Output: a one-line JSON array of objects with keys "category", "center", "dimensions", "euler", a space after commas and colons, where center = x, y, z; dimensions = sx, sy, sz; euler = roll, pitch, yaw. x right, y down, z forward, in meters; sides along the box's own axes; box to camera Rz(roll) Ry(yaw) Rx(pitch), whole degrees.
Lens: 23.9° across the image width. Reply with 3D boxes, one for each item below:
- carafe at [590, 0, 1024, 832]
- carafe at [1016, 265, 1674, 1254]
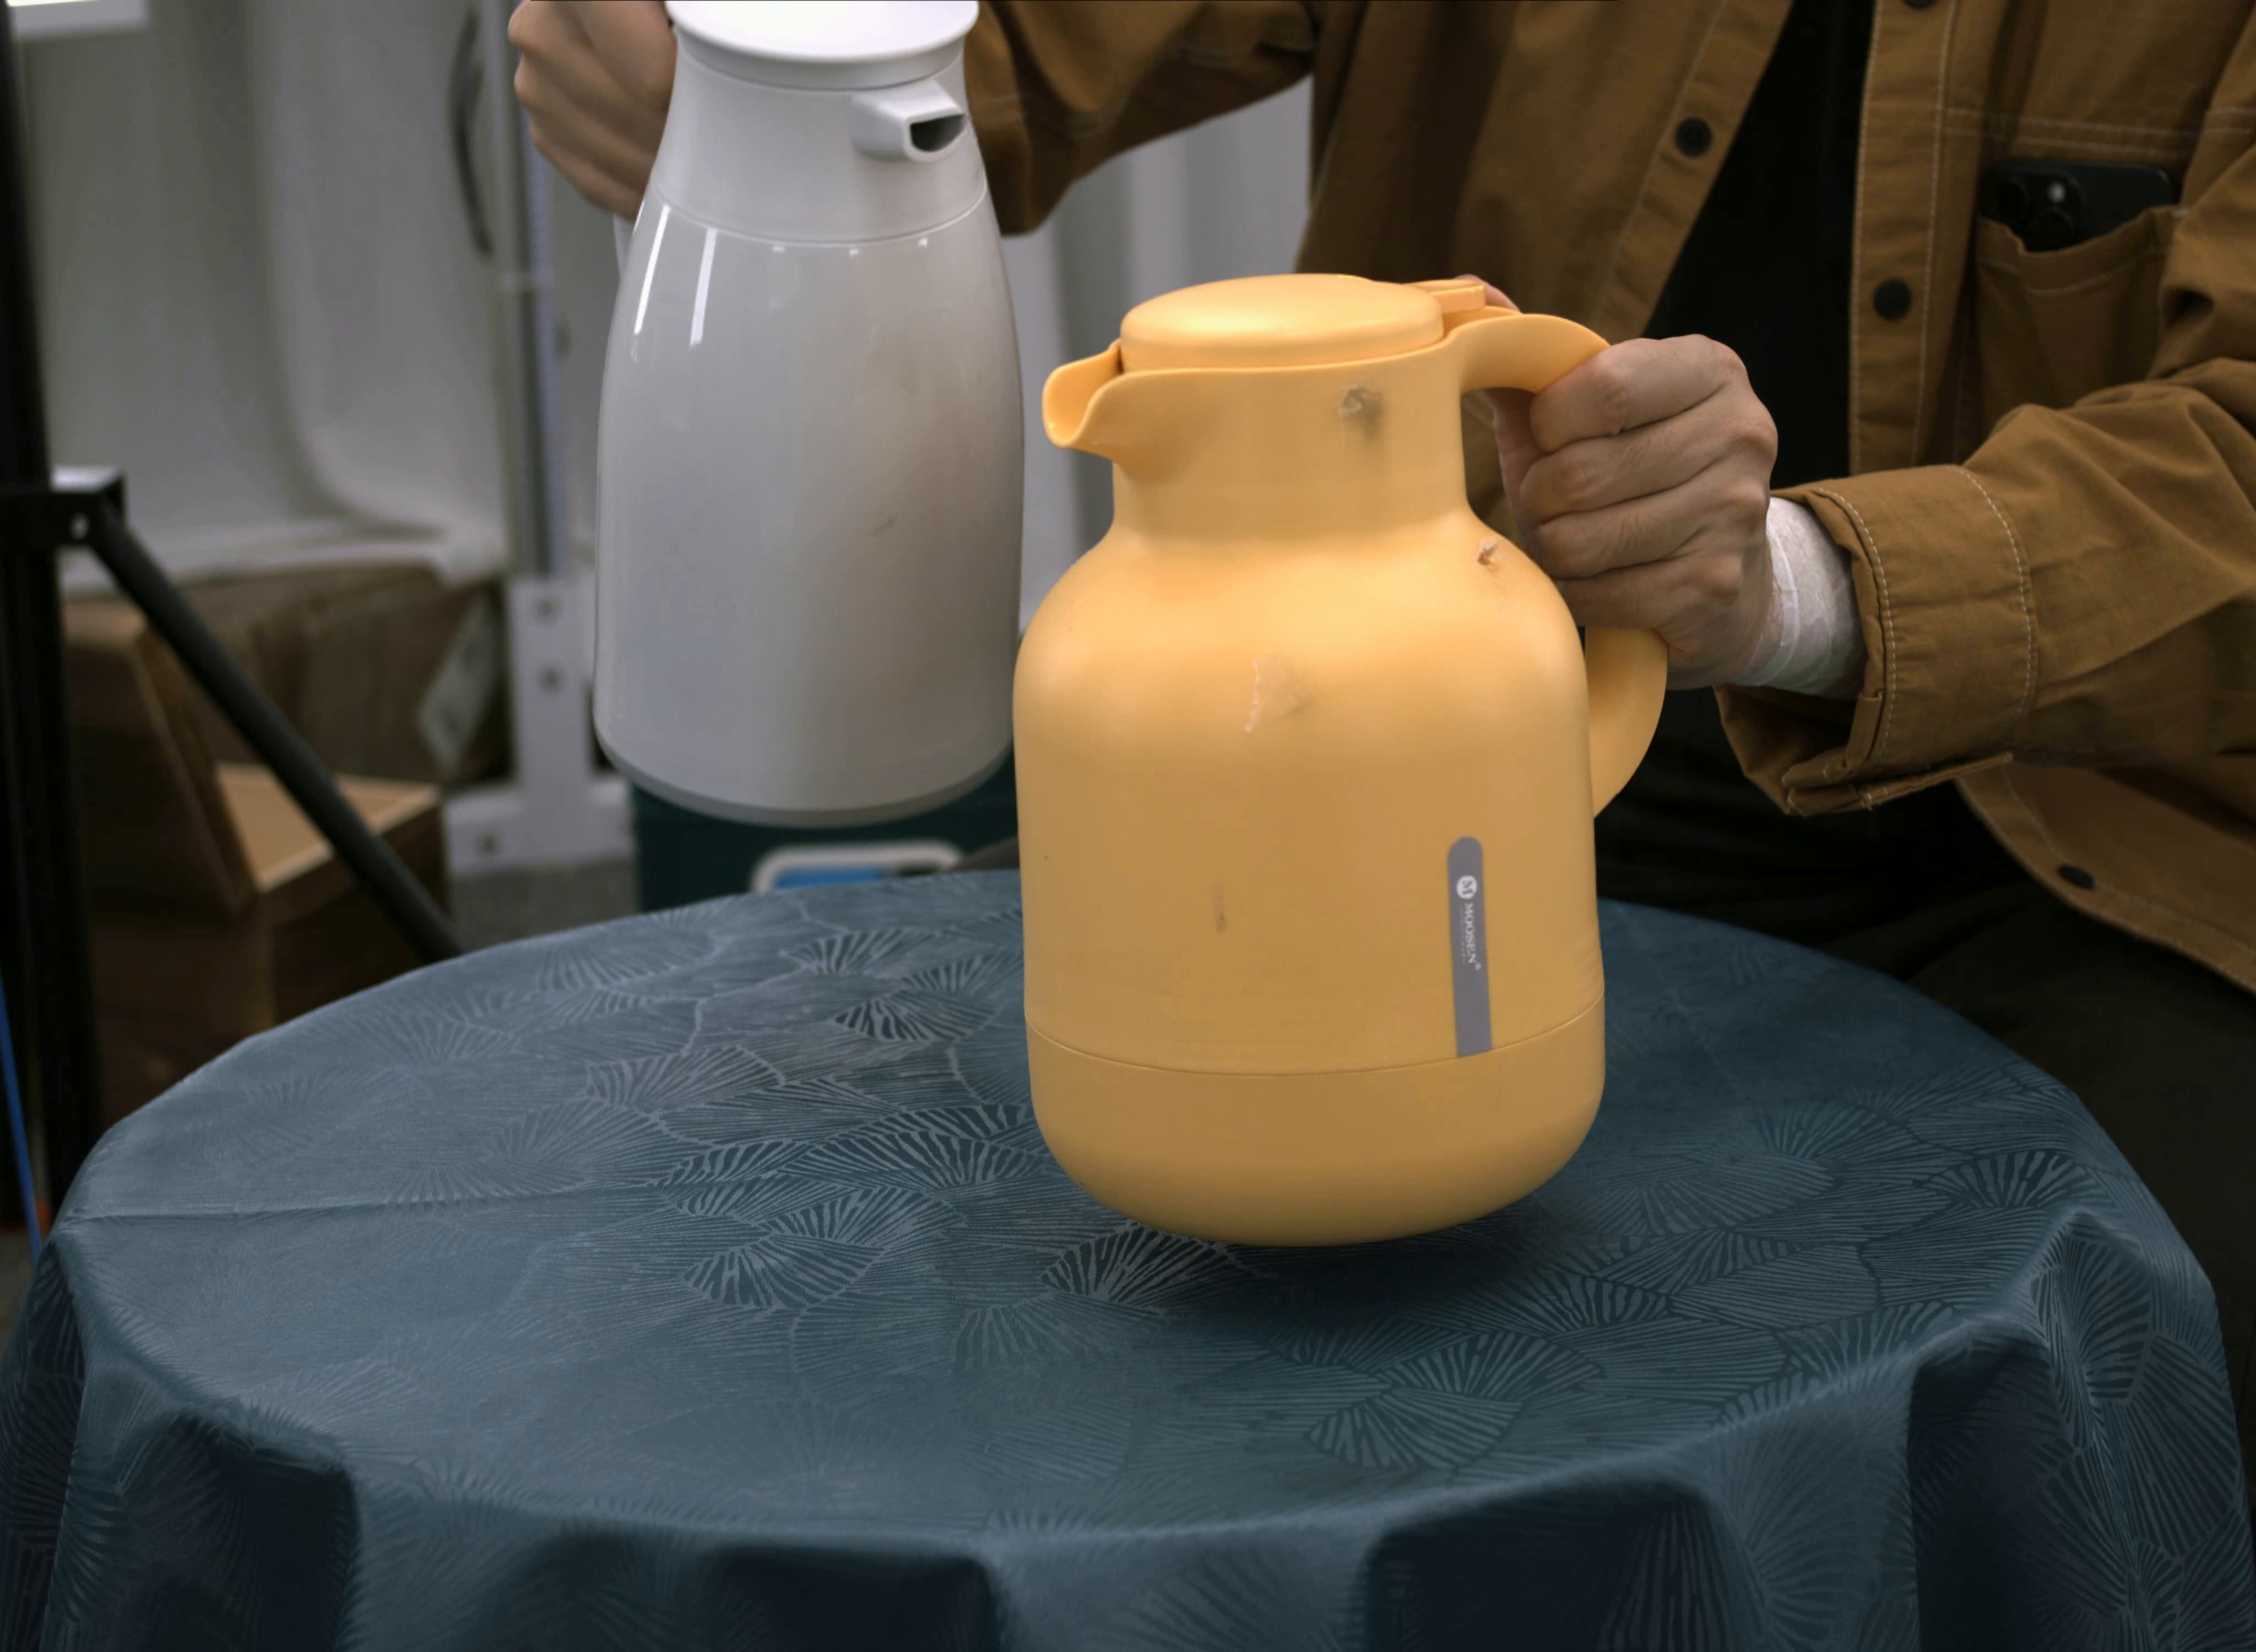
[{"category": "carafe", "center": [-0.106, -0.145, 1.619], "dimensions": [0.129, 0.248, 0.171], "euler": [-15, 32, -31]}, {"category": "carafe", "center": [0.067, -0.025, 1.478], "dimensions": [0.198, 0.260, 0.167], "euler": [-12, 17, -27]}]
